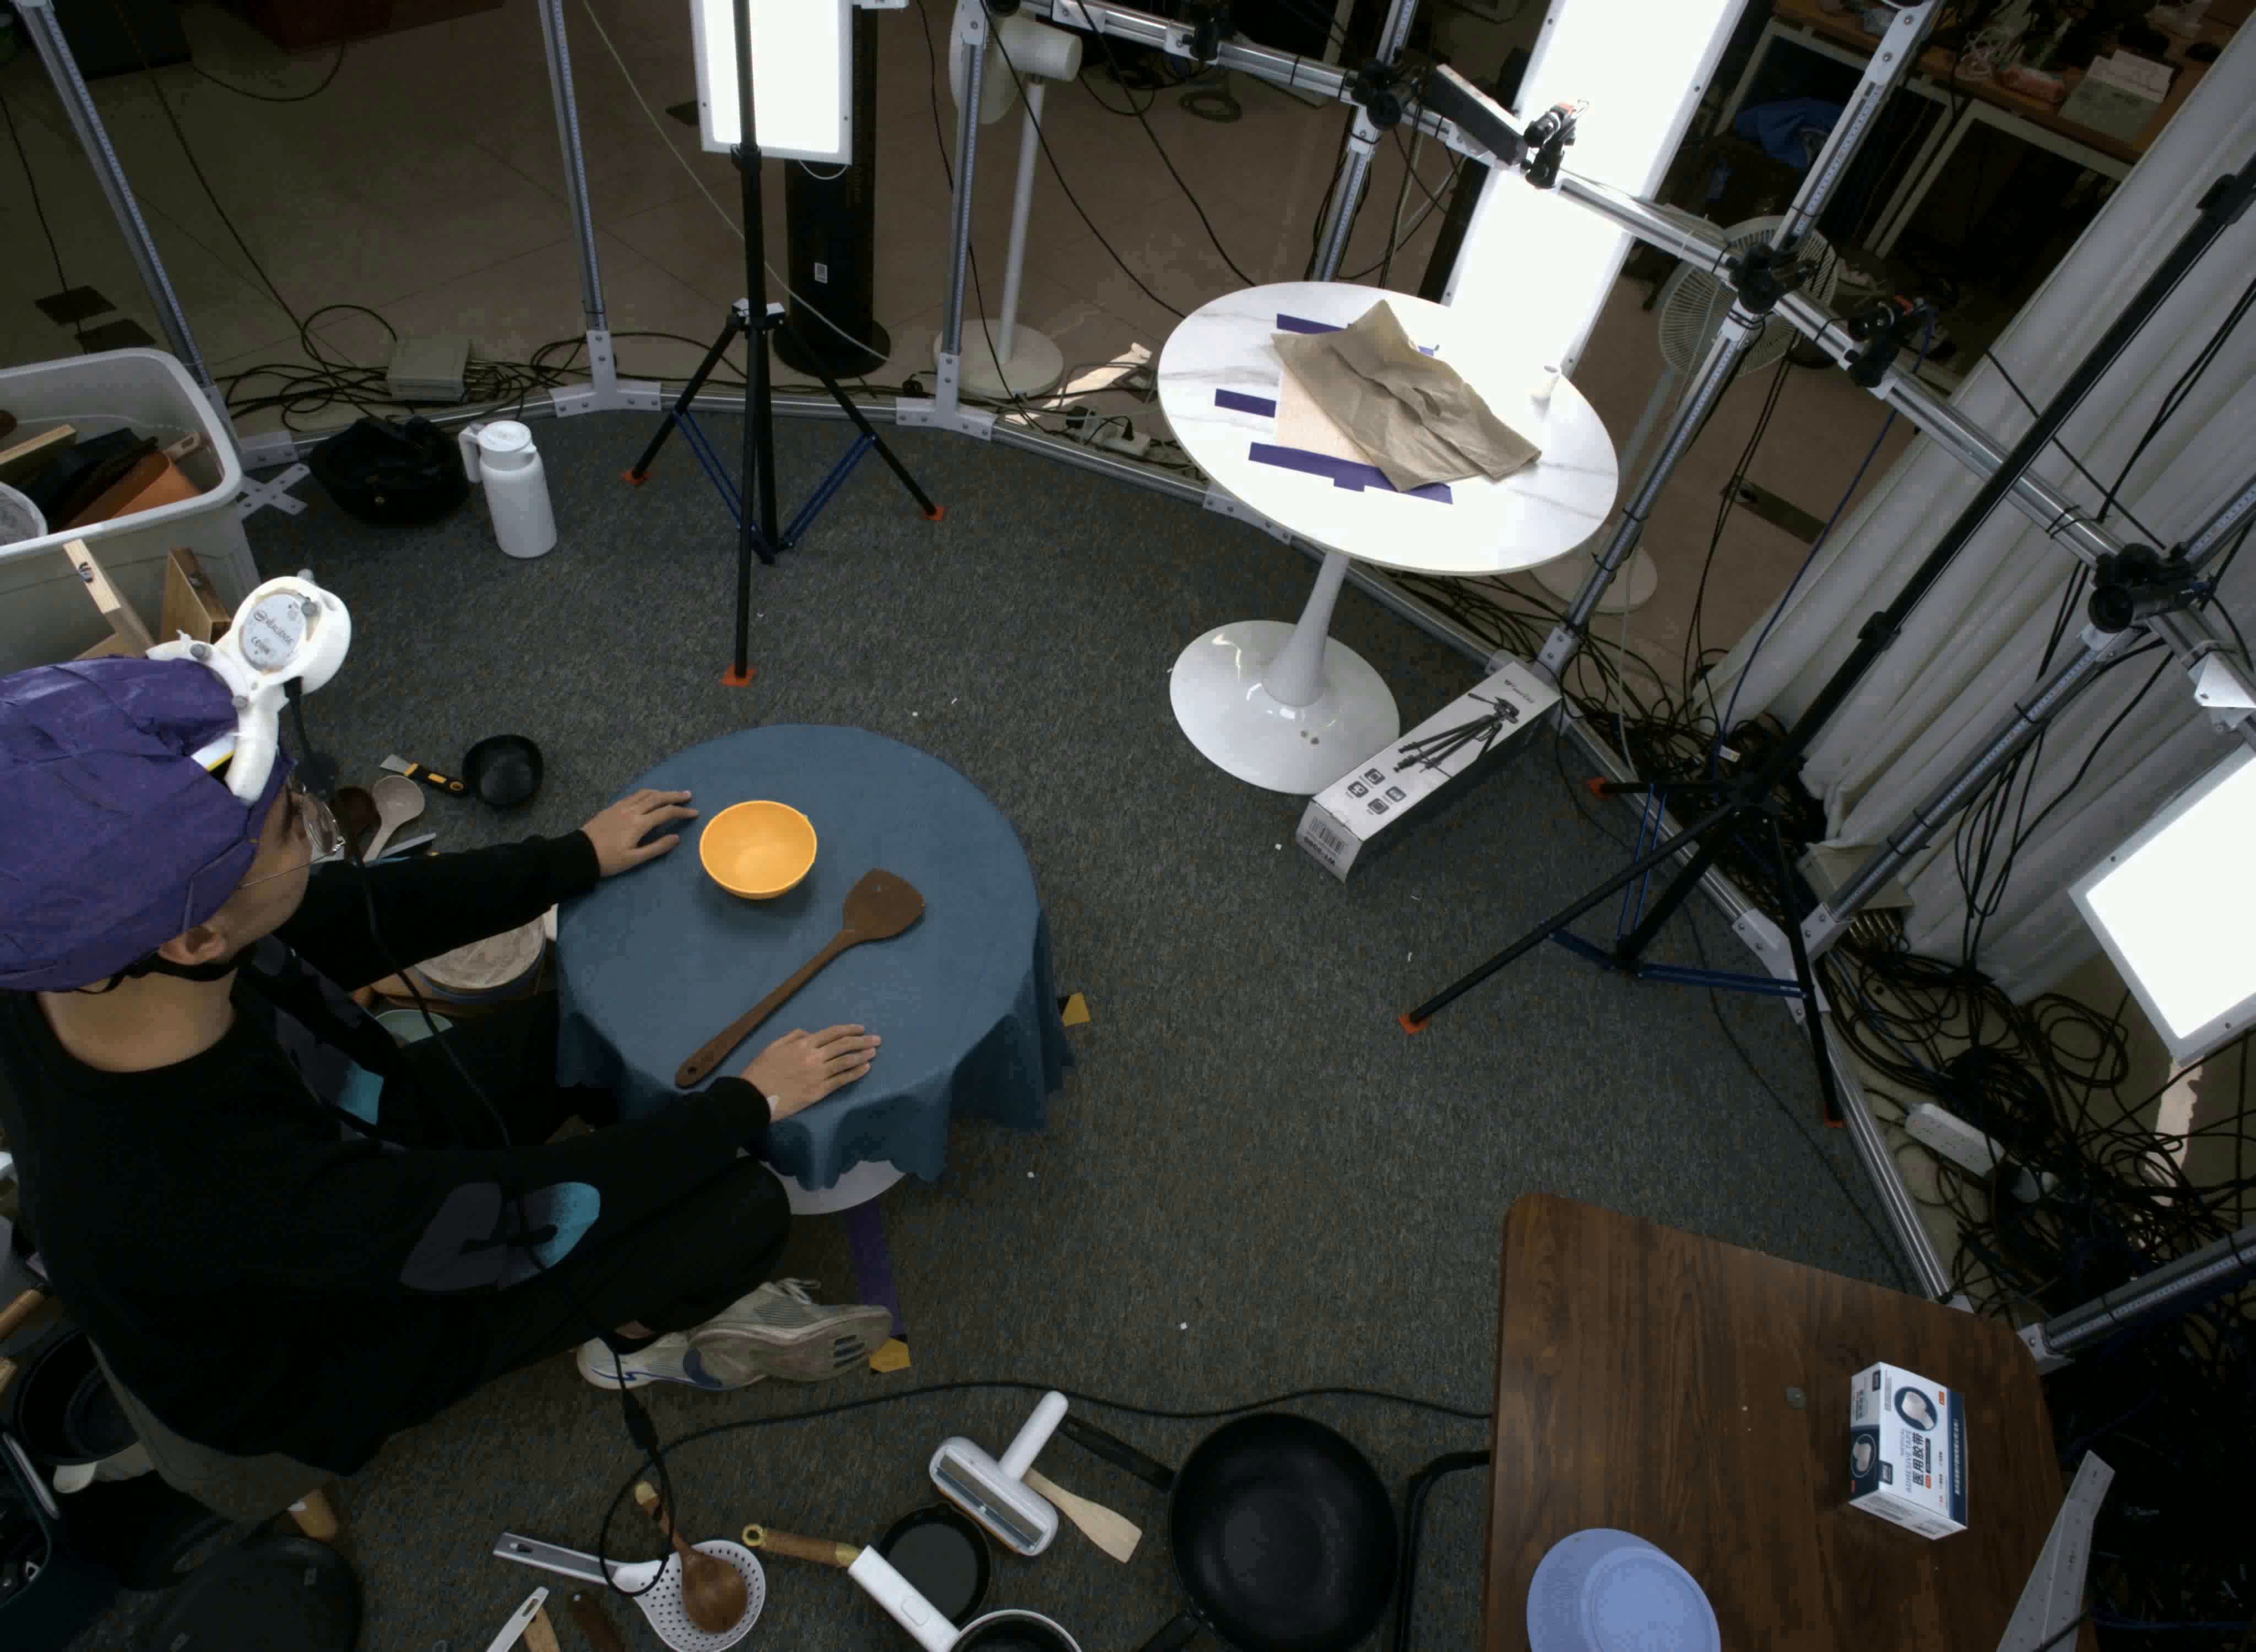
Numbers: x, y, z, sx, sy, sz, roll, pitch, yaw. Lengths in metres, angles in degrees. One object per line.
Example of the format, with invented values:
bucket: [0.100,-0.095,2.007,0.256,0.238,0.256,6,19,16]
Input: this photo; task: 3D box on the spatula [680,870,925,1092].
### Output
spatula: [-0.401,0.186,1.588,0.094,0.016,0.386,35,54,13]

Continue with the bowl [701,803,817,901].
bowl: [-0.467,0.043,1.651,0.144,0.061,0.142,6,51,-6]
